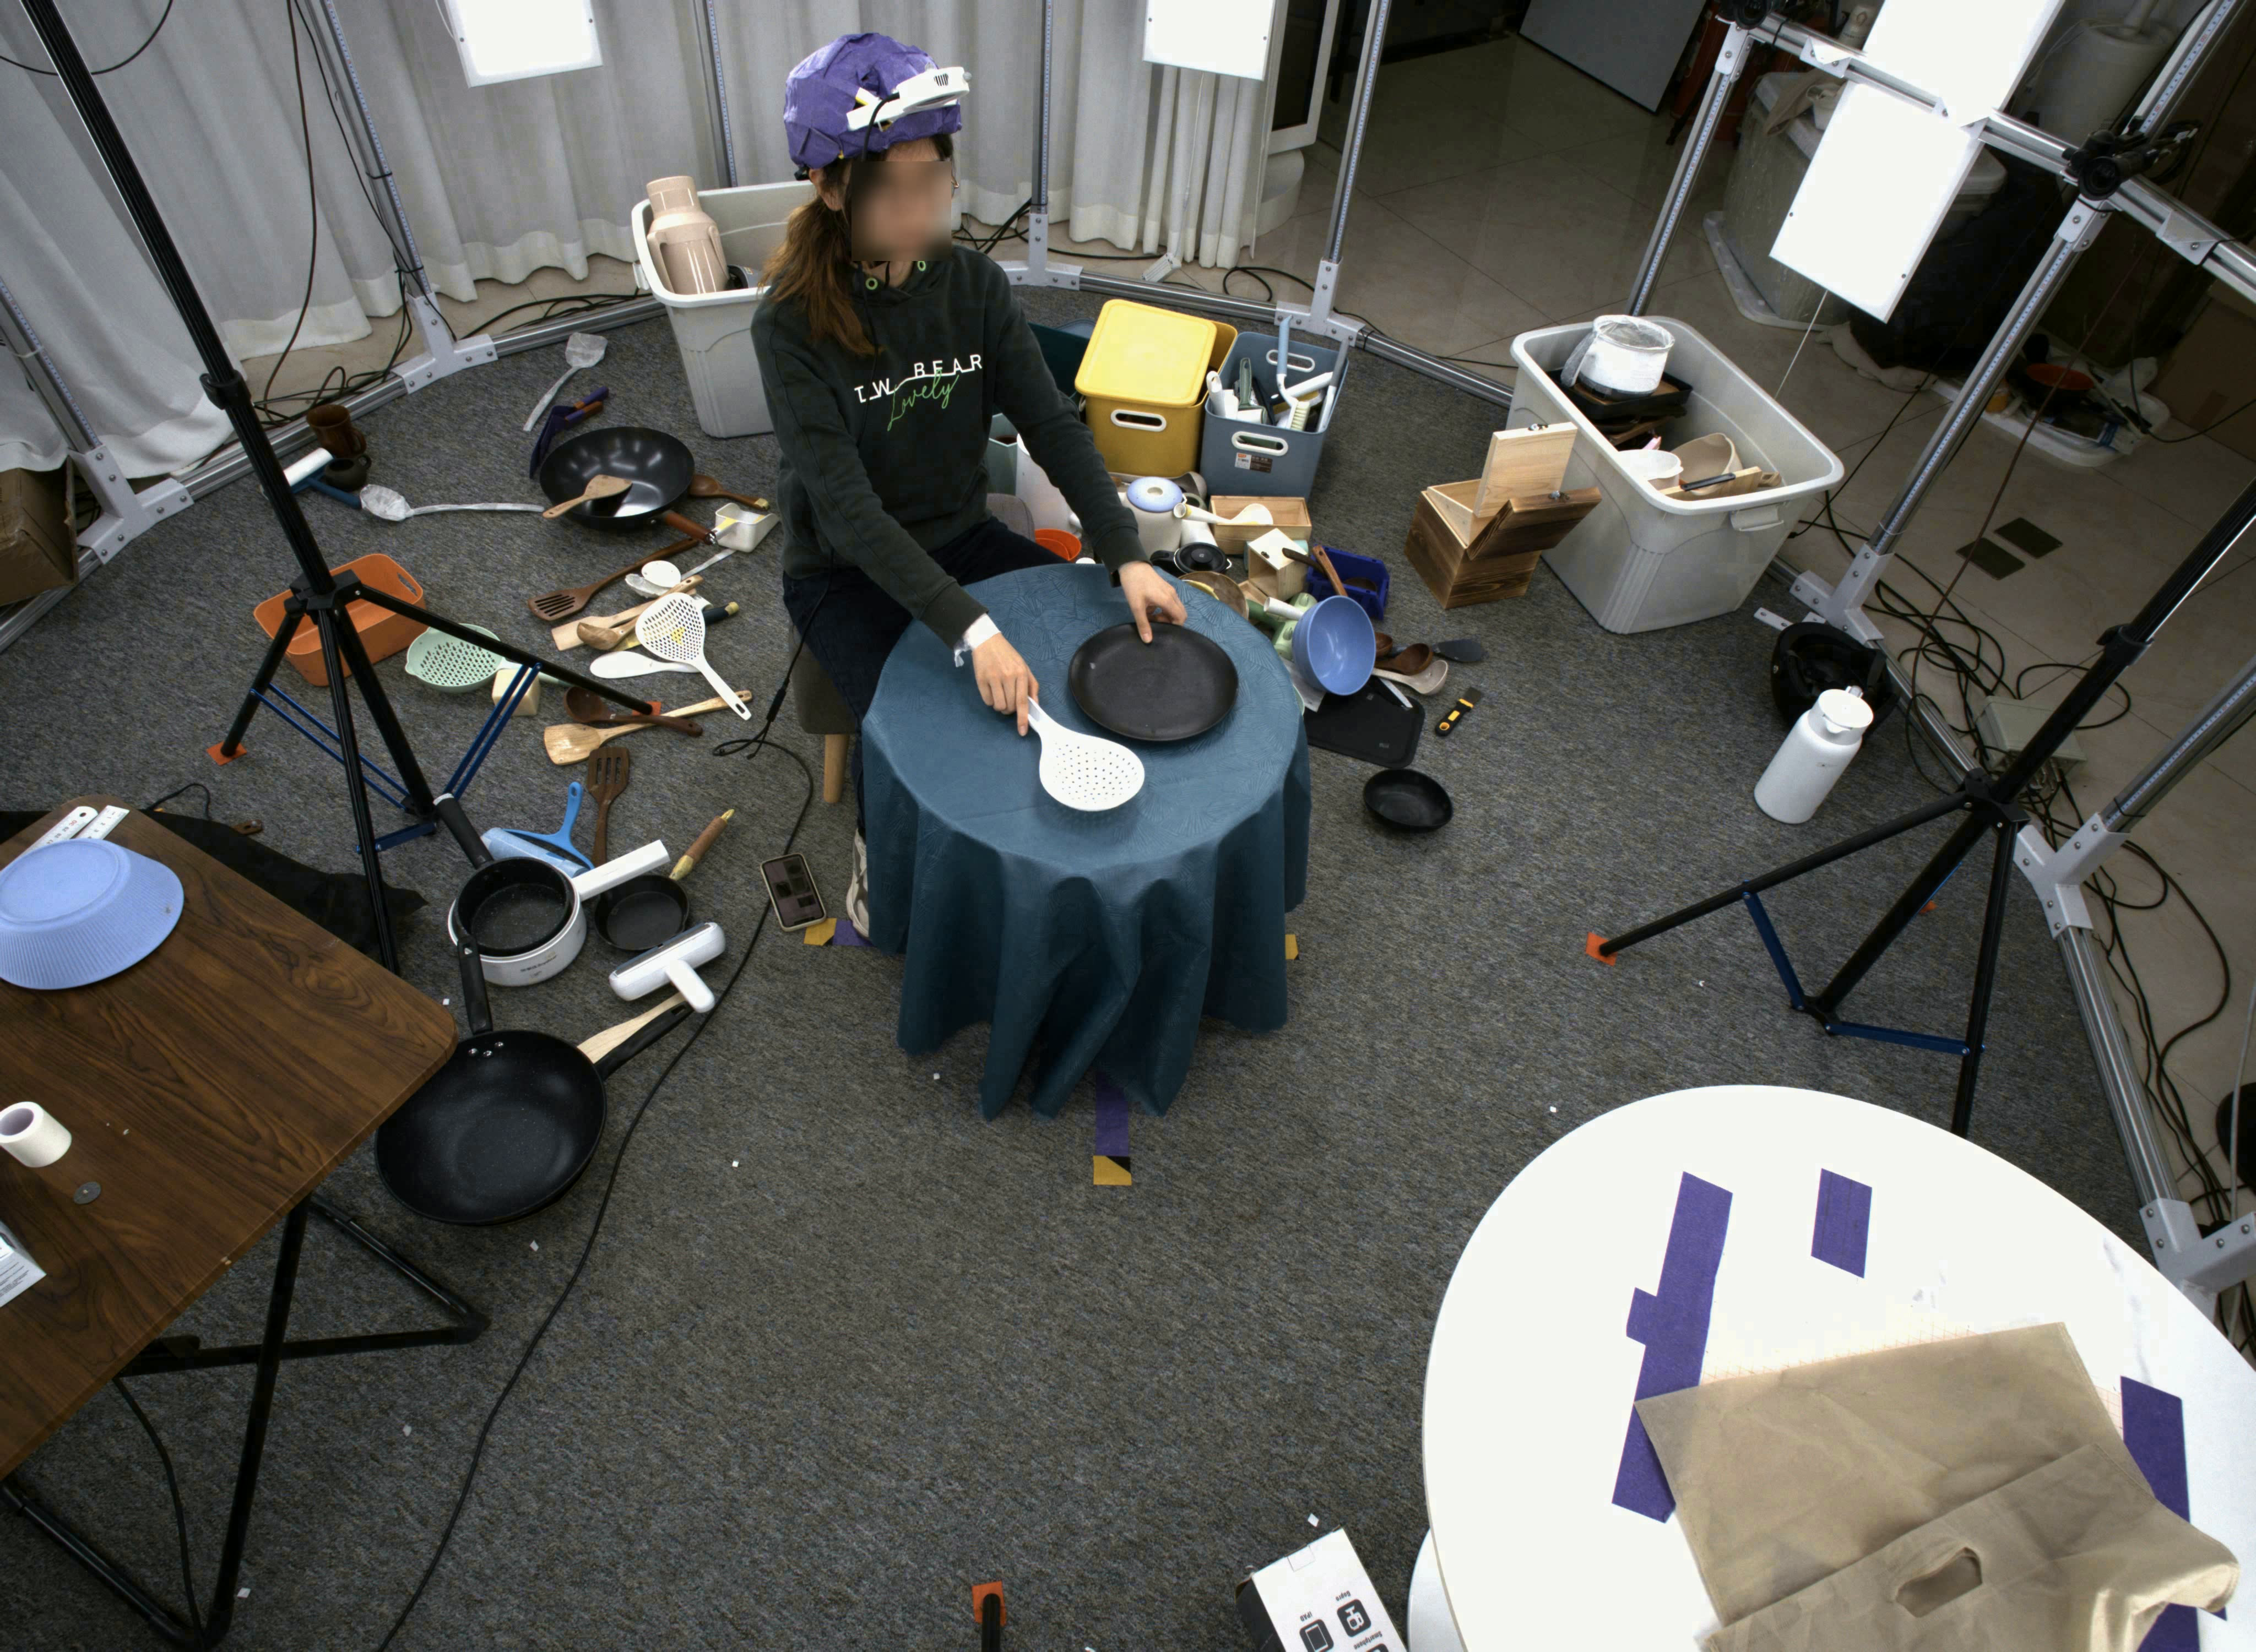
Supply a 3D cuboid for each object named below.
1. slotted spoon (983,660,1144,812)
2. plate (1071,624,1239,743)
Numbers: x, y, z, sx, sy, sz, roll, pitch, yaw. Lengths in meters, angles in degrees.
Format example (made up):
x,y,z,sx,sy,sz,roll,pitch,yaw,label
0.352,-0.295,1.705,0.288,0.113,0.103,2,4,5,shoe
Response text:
x,y,z,sx,sy,sz,roll,pitch,yaw,label
-0.106,-0.129,1.760,0.136,0.044,0.357,-22,53,-25,slotted spoon
0.038,-0.203,1.849,0.244,0.023,0.250,2,49,-2,plate
